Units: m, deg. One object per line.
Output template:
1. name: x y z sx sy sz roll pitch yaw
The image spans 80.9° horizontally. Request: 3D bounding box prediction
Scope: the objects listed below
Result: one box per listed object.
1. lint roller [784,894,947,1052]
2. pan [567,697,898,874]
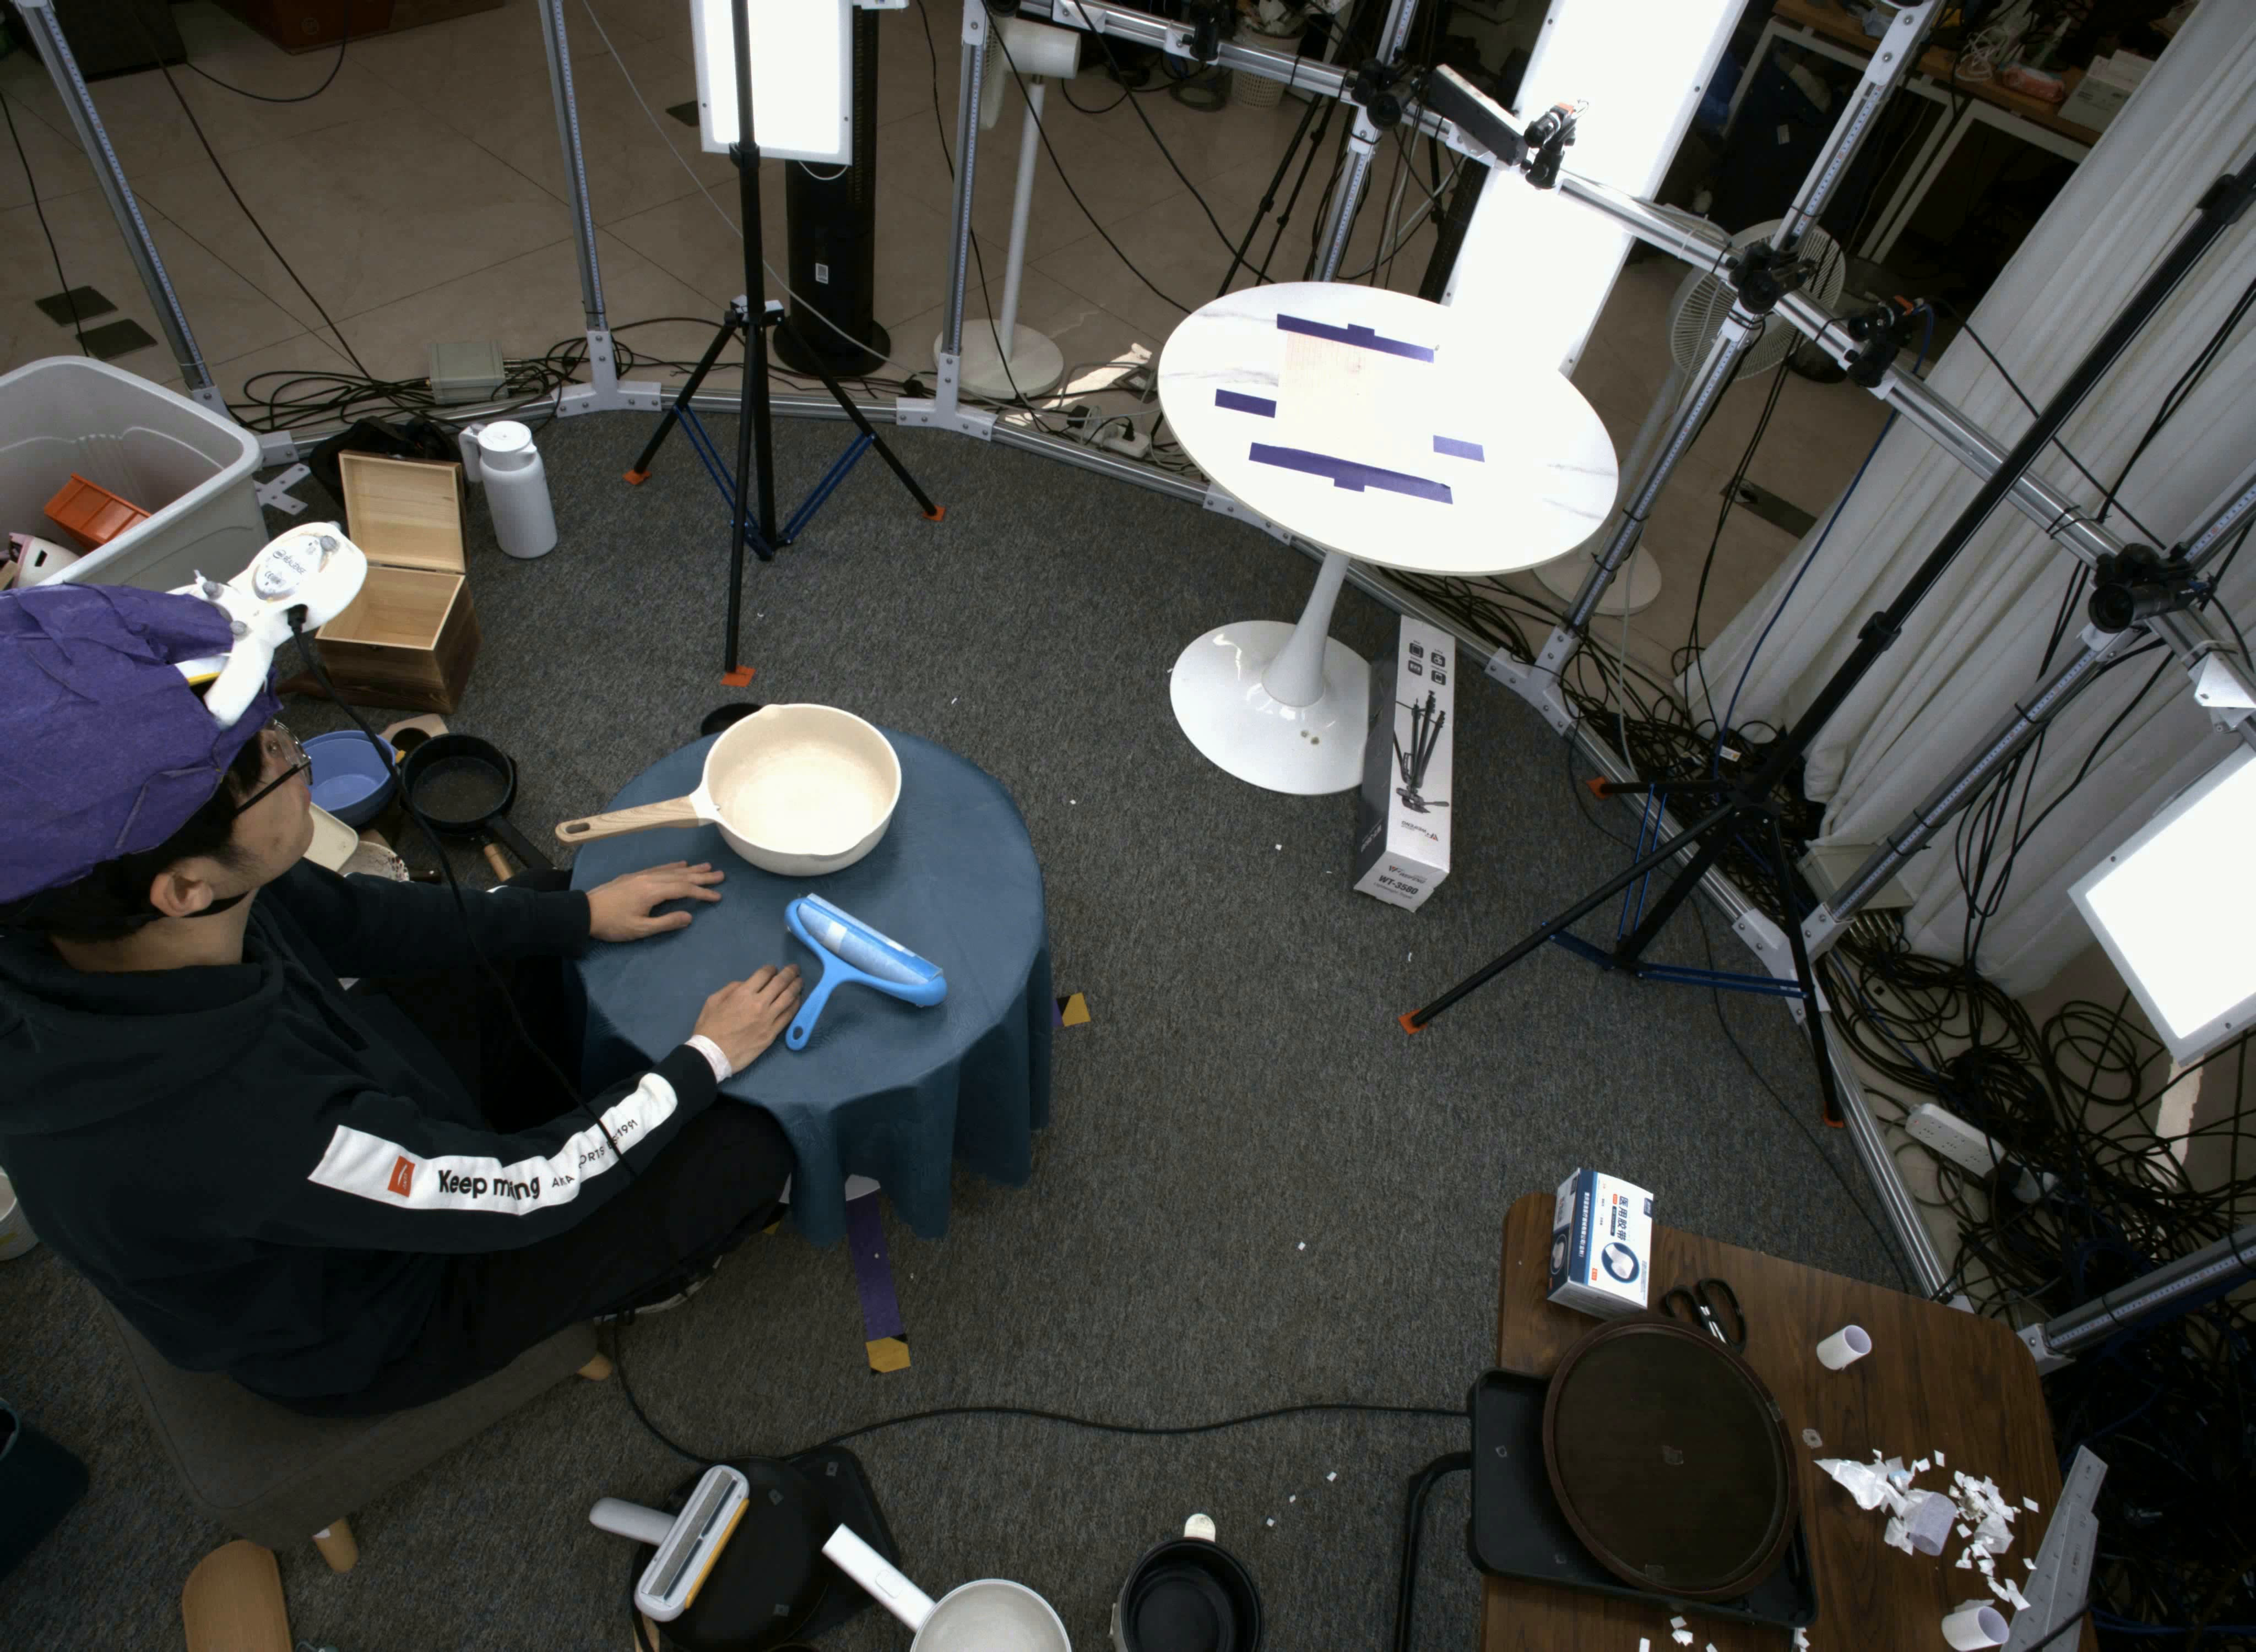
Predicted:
1. lint roller: -0.349 0.188 1.574 0.226 0.069 0.179 28 51 5
2. pan: -0.507 -0.024 1.660 0.437 0.104 0.257 -20 63 -26
